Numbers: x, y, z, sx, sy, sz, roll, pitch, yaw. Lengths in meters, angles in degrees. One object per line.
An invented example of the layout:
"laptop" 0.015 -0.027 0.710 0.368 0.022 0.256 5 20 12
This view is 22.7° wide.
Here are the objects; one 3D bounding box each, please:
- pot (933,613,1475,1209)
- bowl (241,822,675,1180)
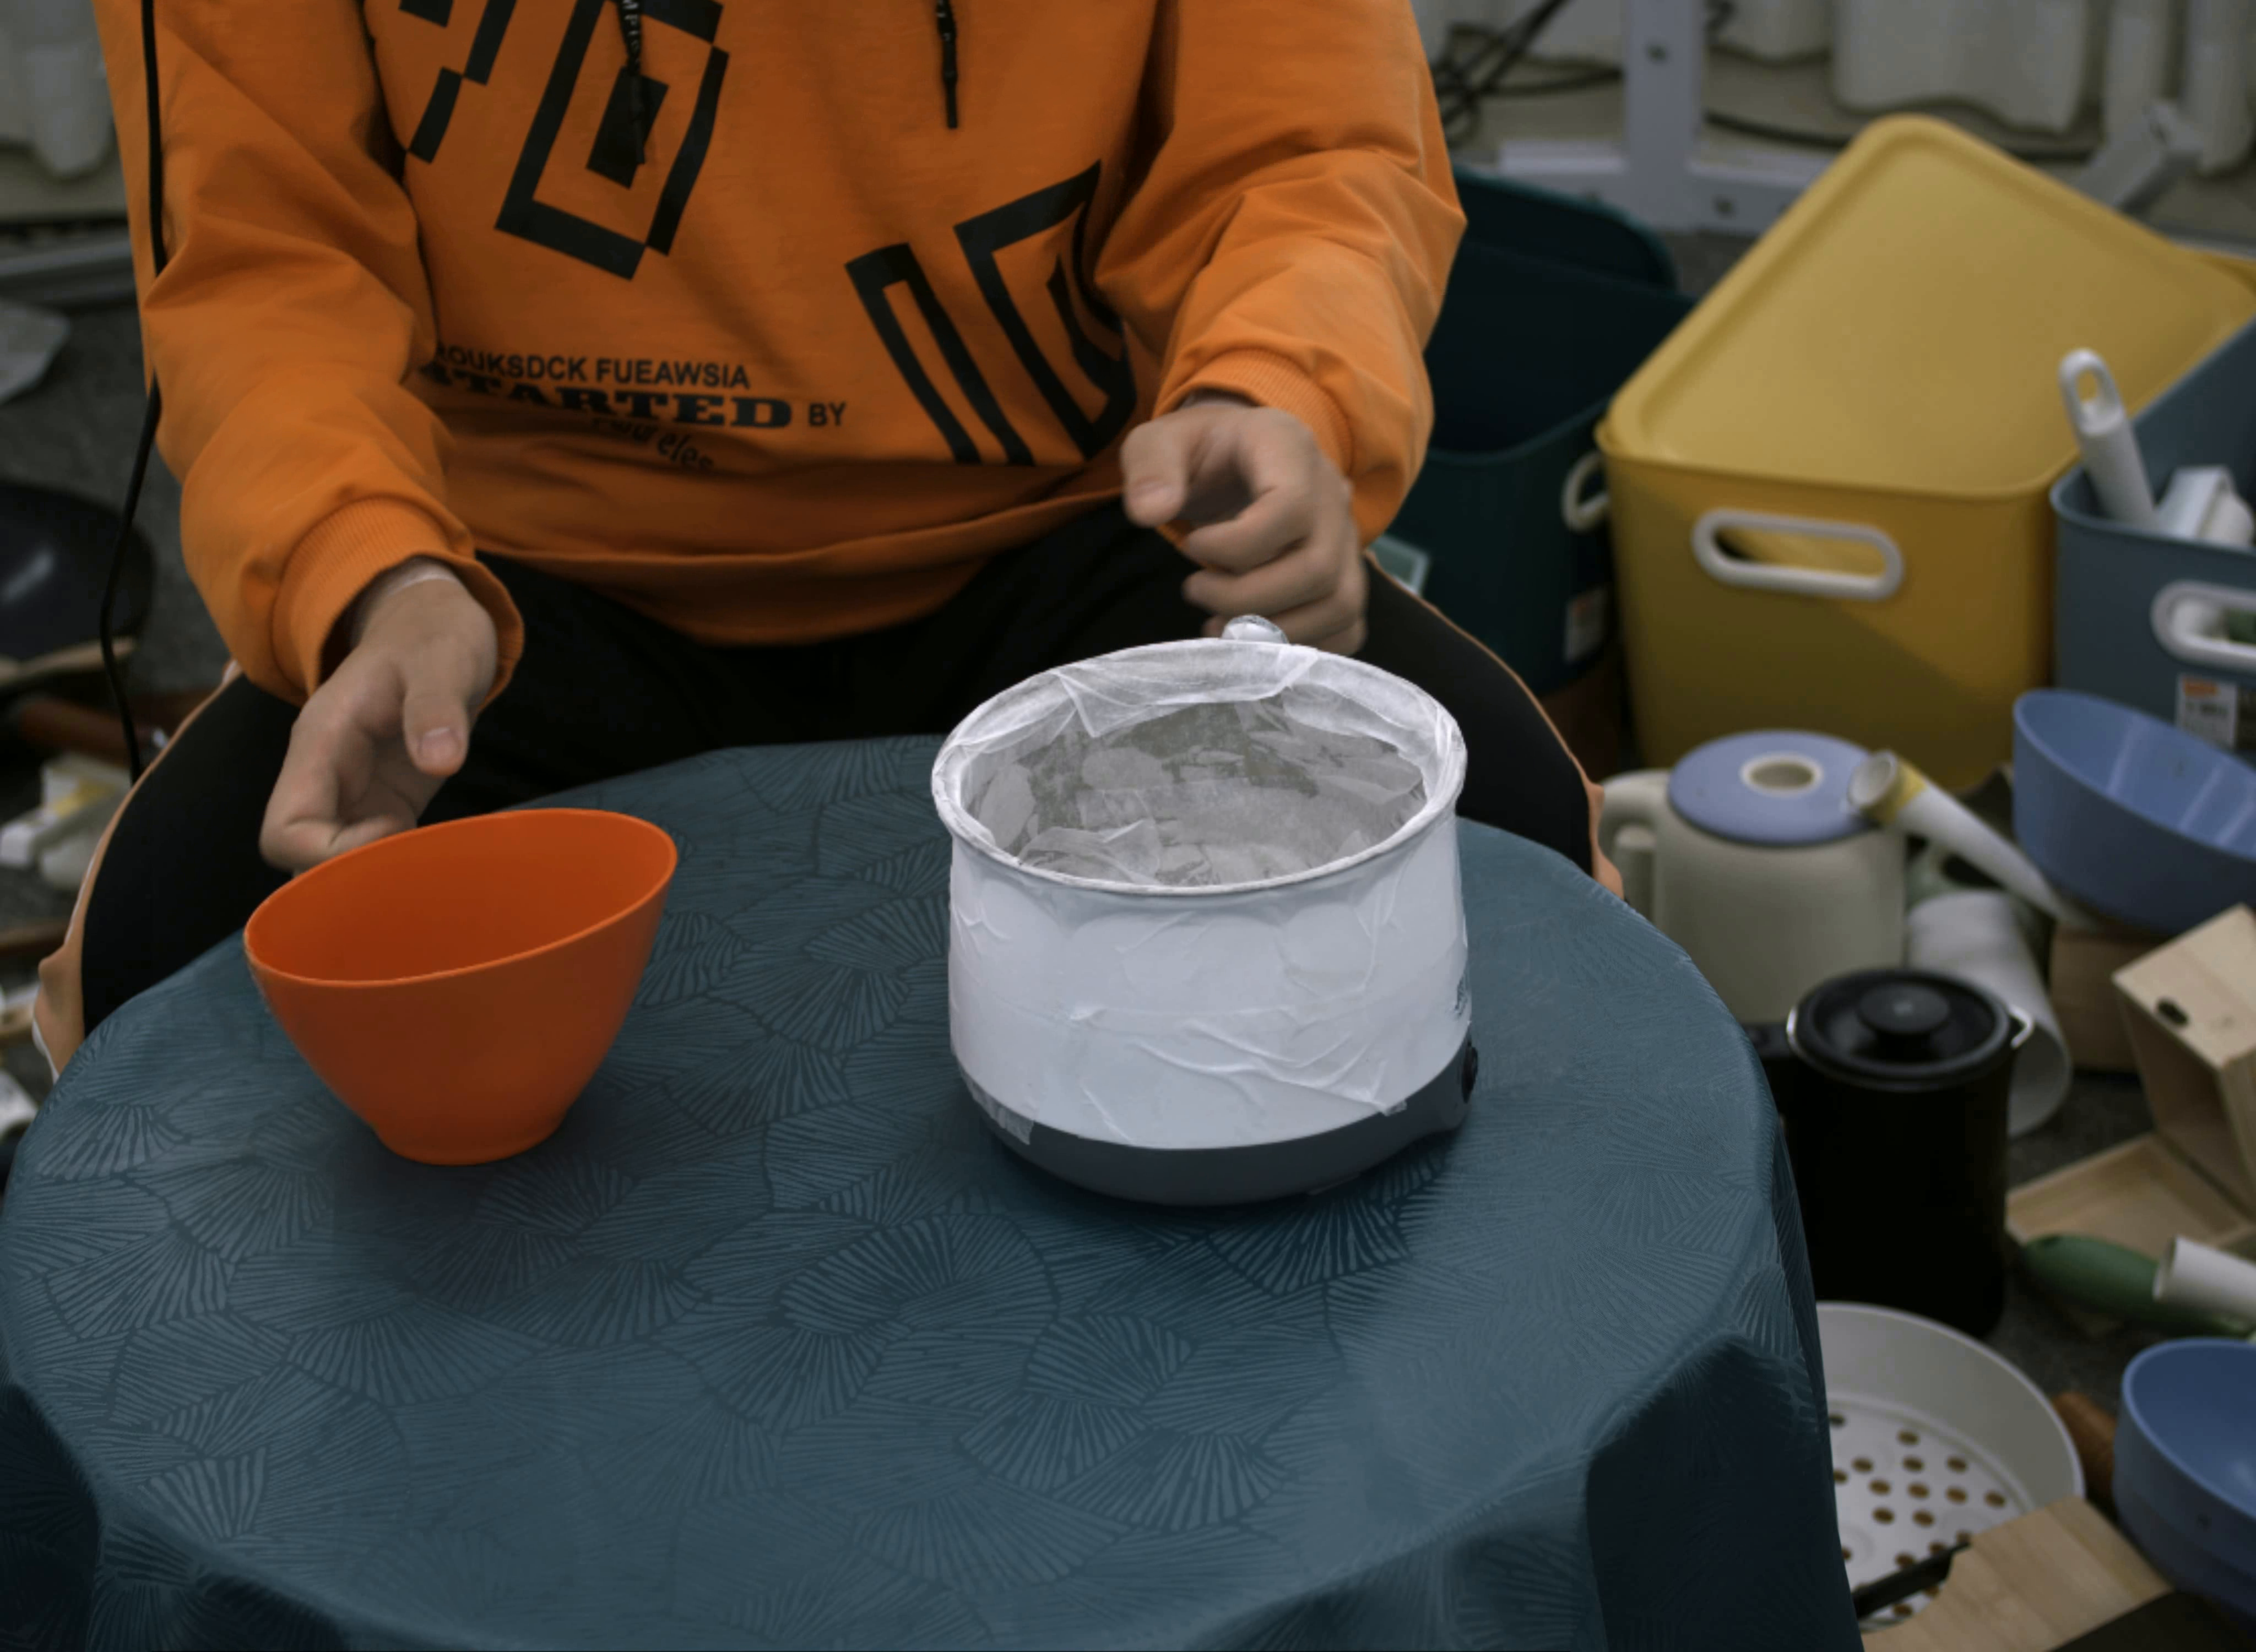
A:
"pot" 0.031 0.021 1.905 0.177 0.135 0.238 2 28 9
"bowl" -0.221 0.063 1.896 0.147 0.103 0.150 -3 25 2
